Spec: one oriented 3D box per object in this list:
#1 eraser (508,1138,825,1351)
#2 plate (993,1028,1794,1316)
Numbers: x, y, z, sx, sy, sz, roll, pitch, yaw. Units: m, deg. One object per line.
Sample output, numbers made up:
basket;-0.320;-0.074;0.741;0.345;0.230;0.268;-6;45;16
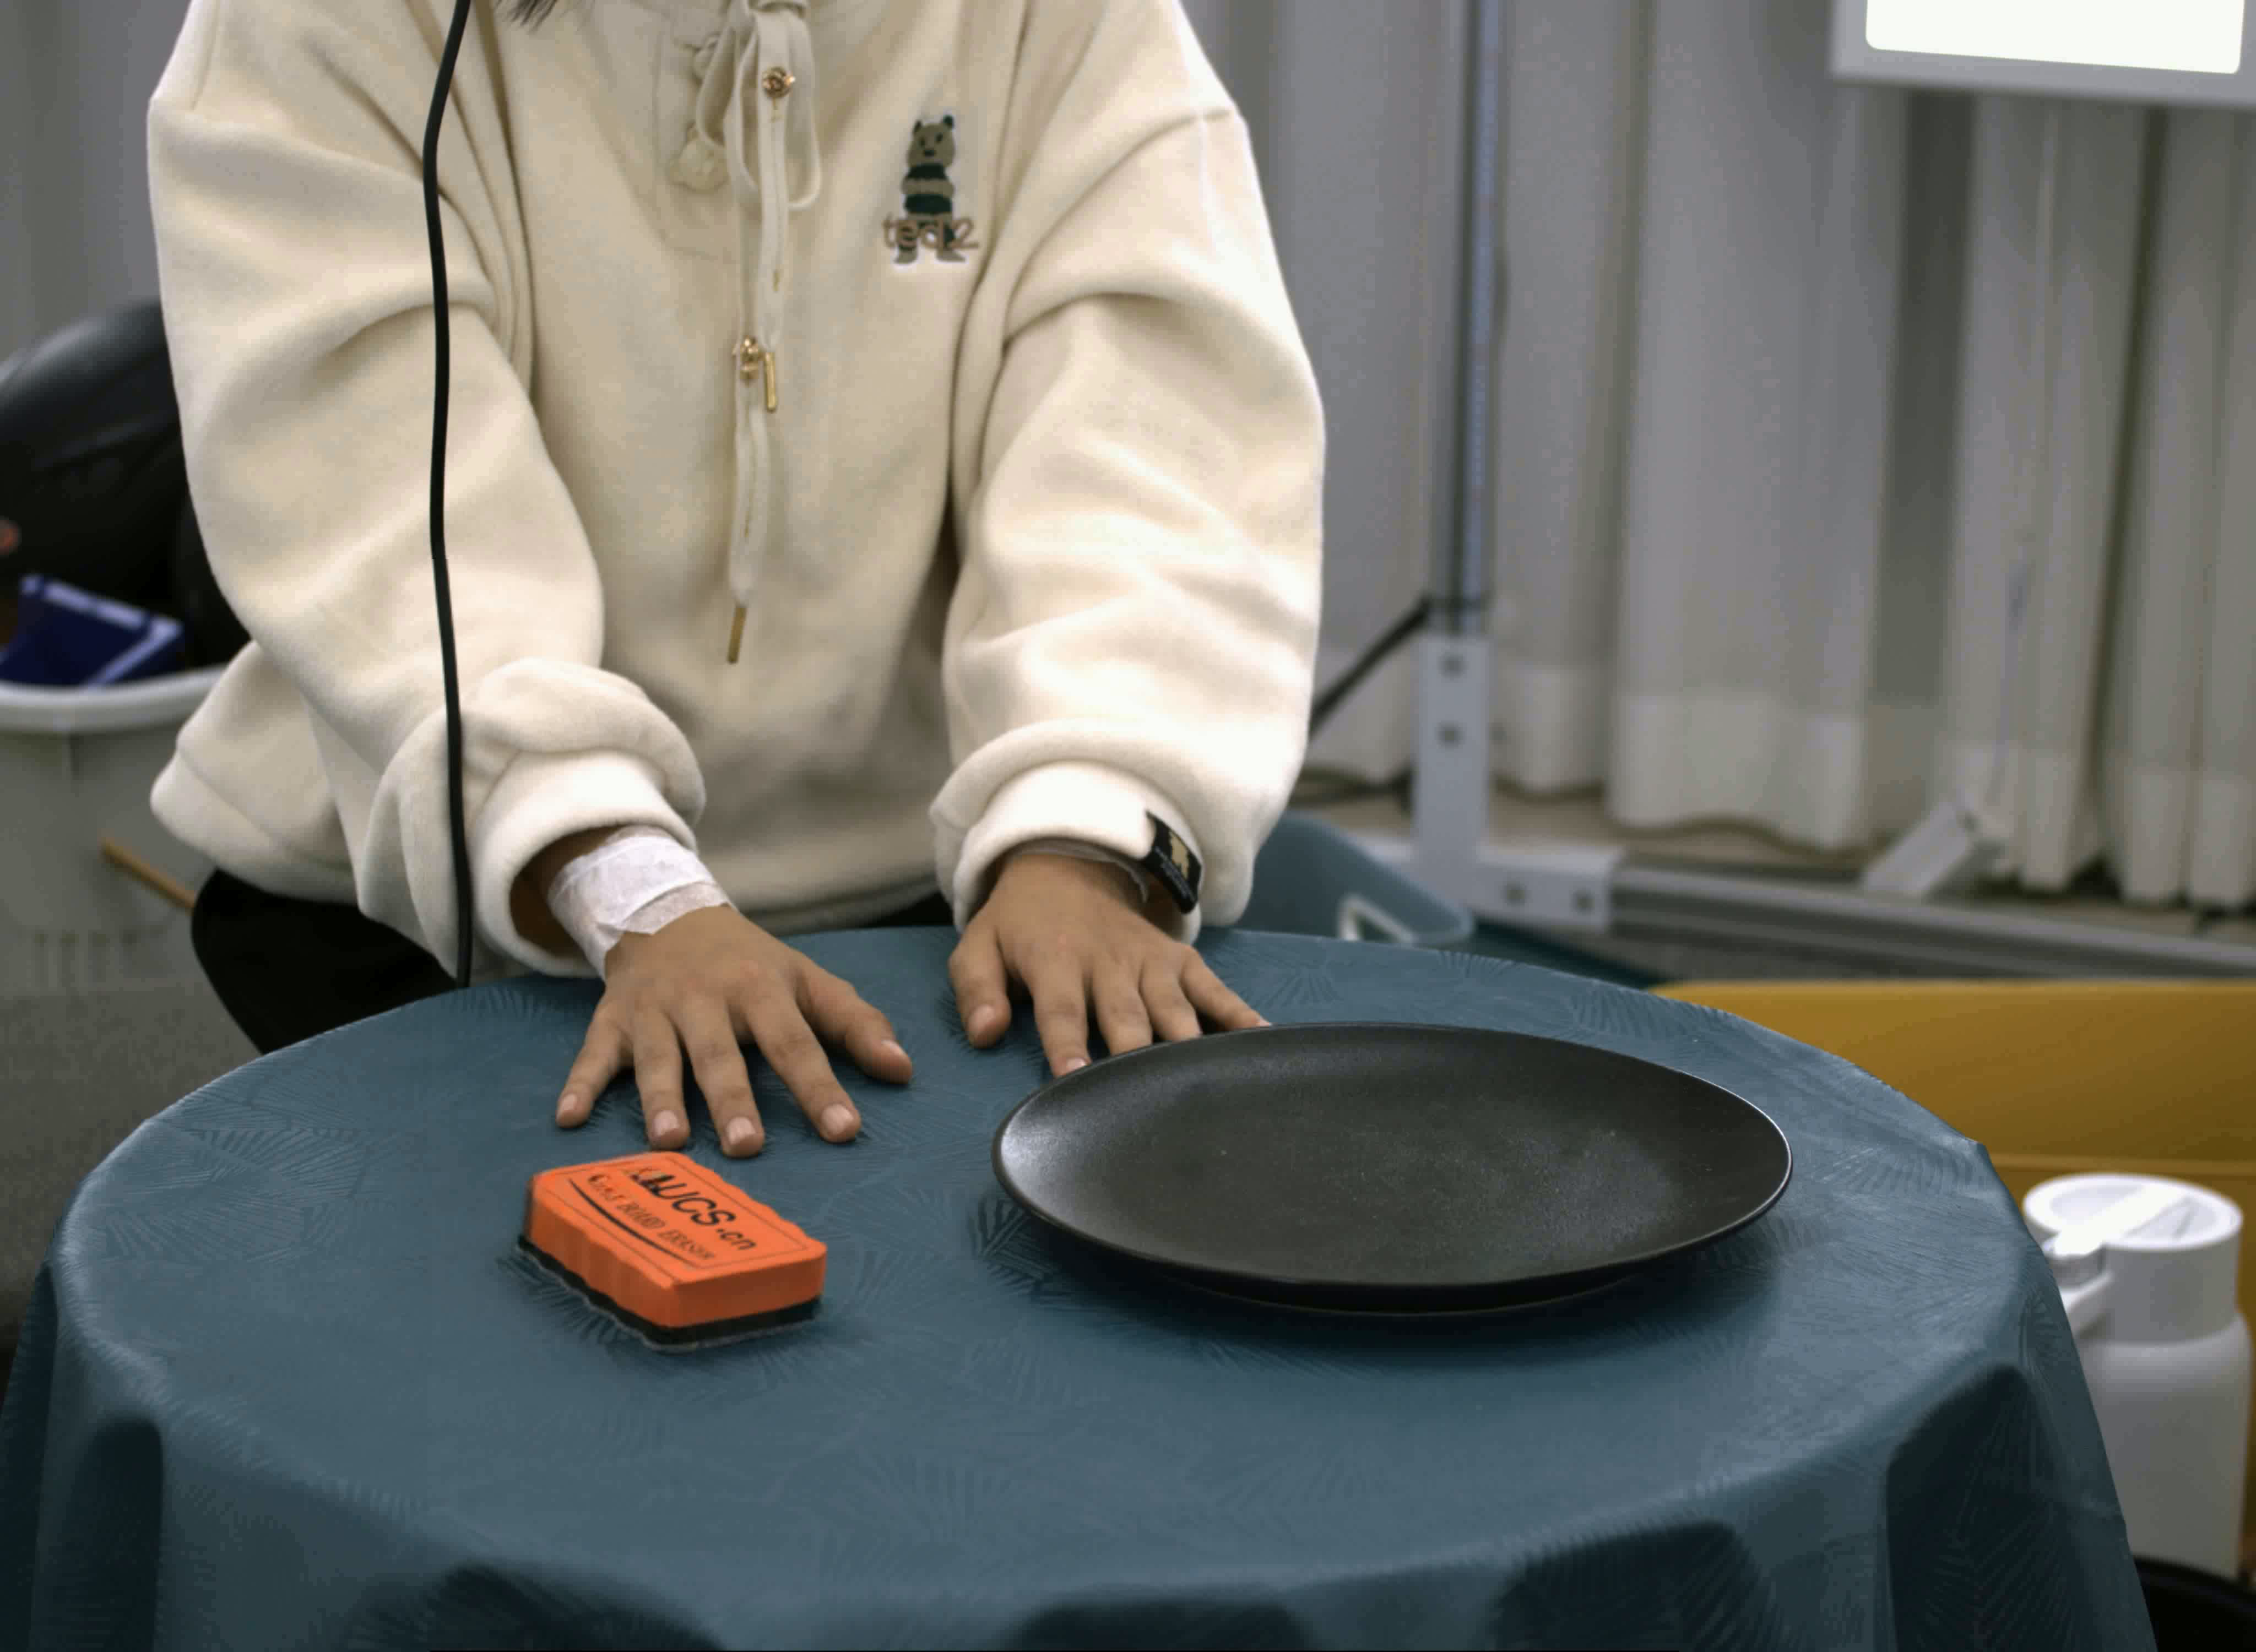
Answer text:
eraser;-0.135;0.121;1.532;0.059;0.023;0.106;-10;21;-30
plate;0.080;0.107;1.601;0.243;0.023;0.243;0;15;0
